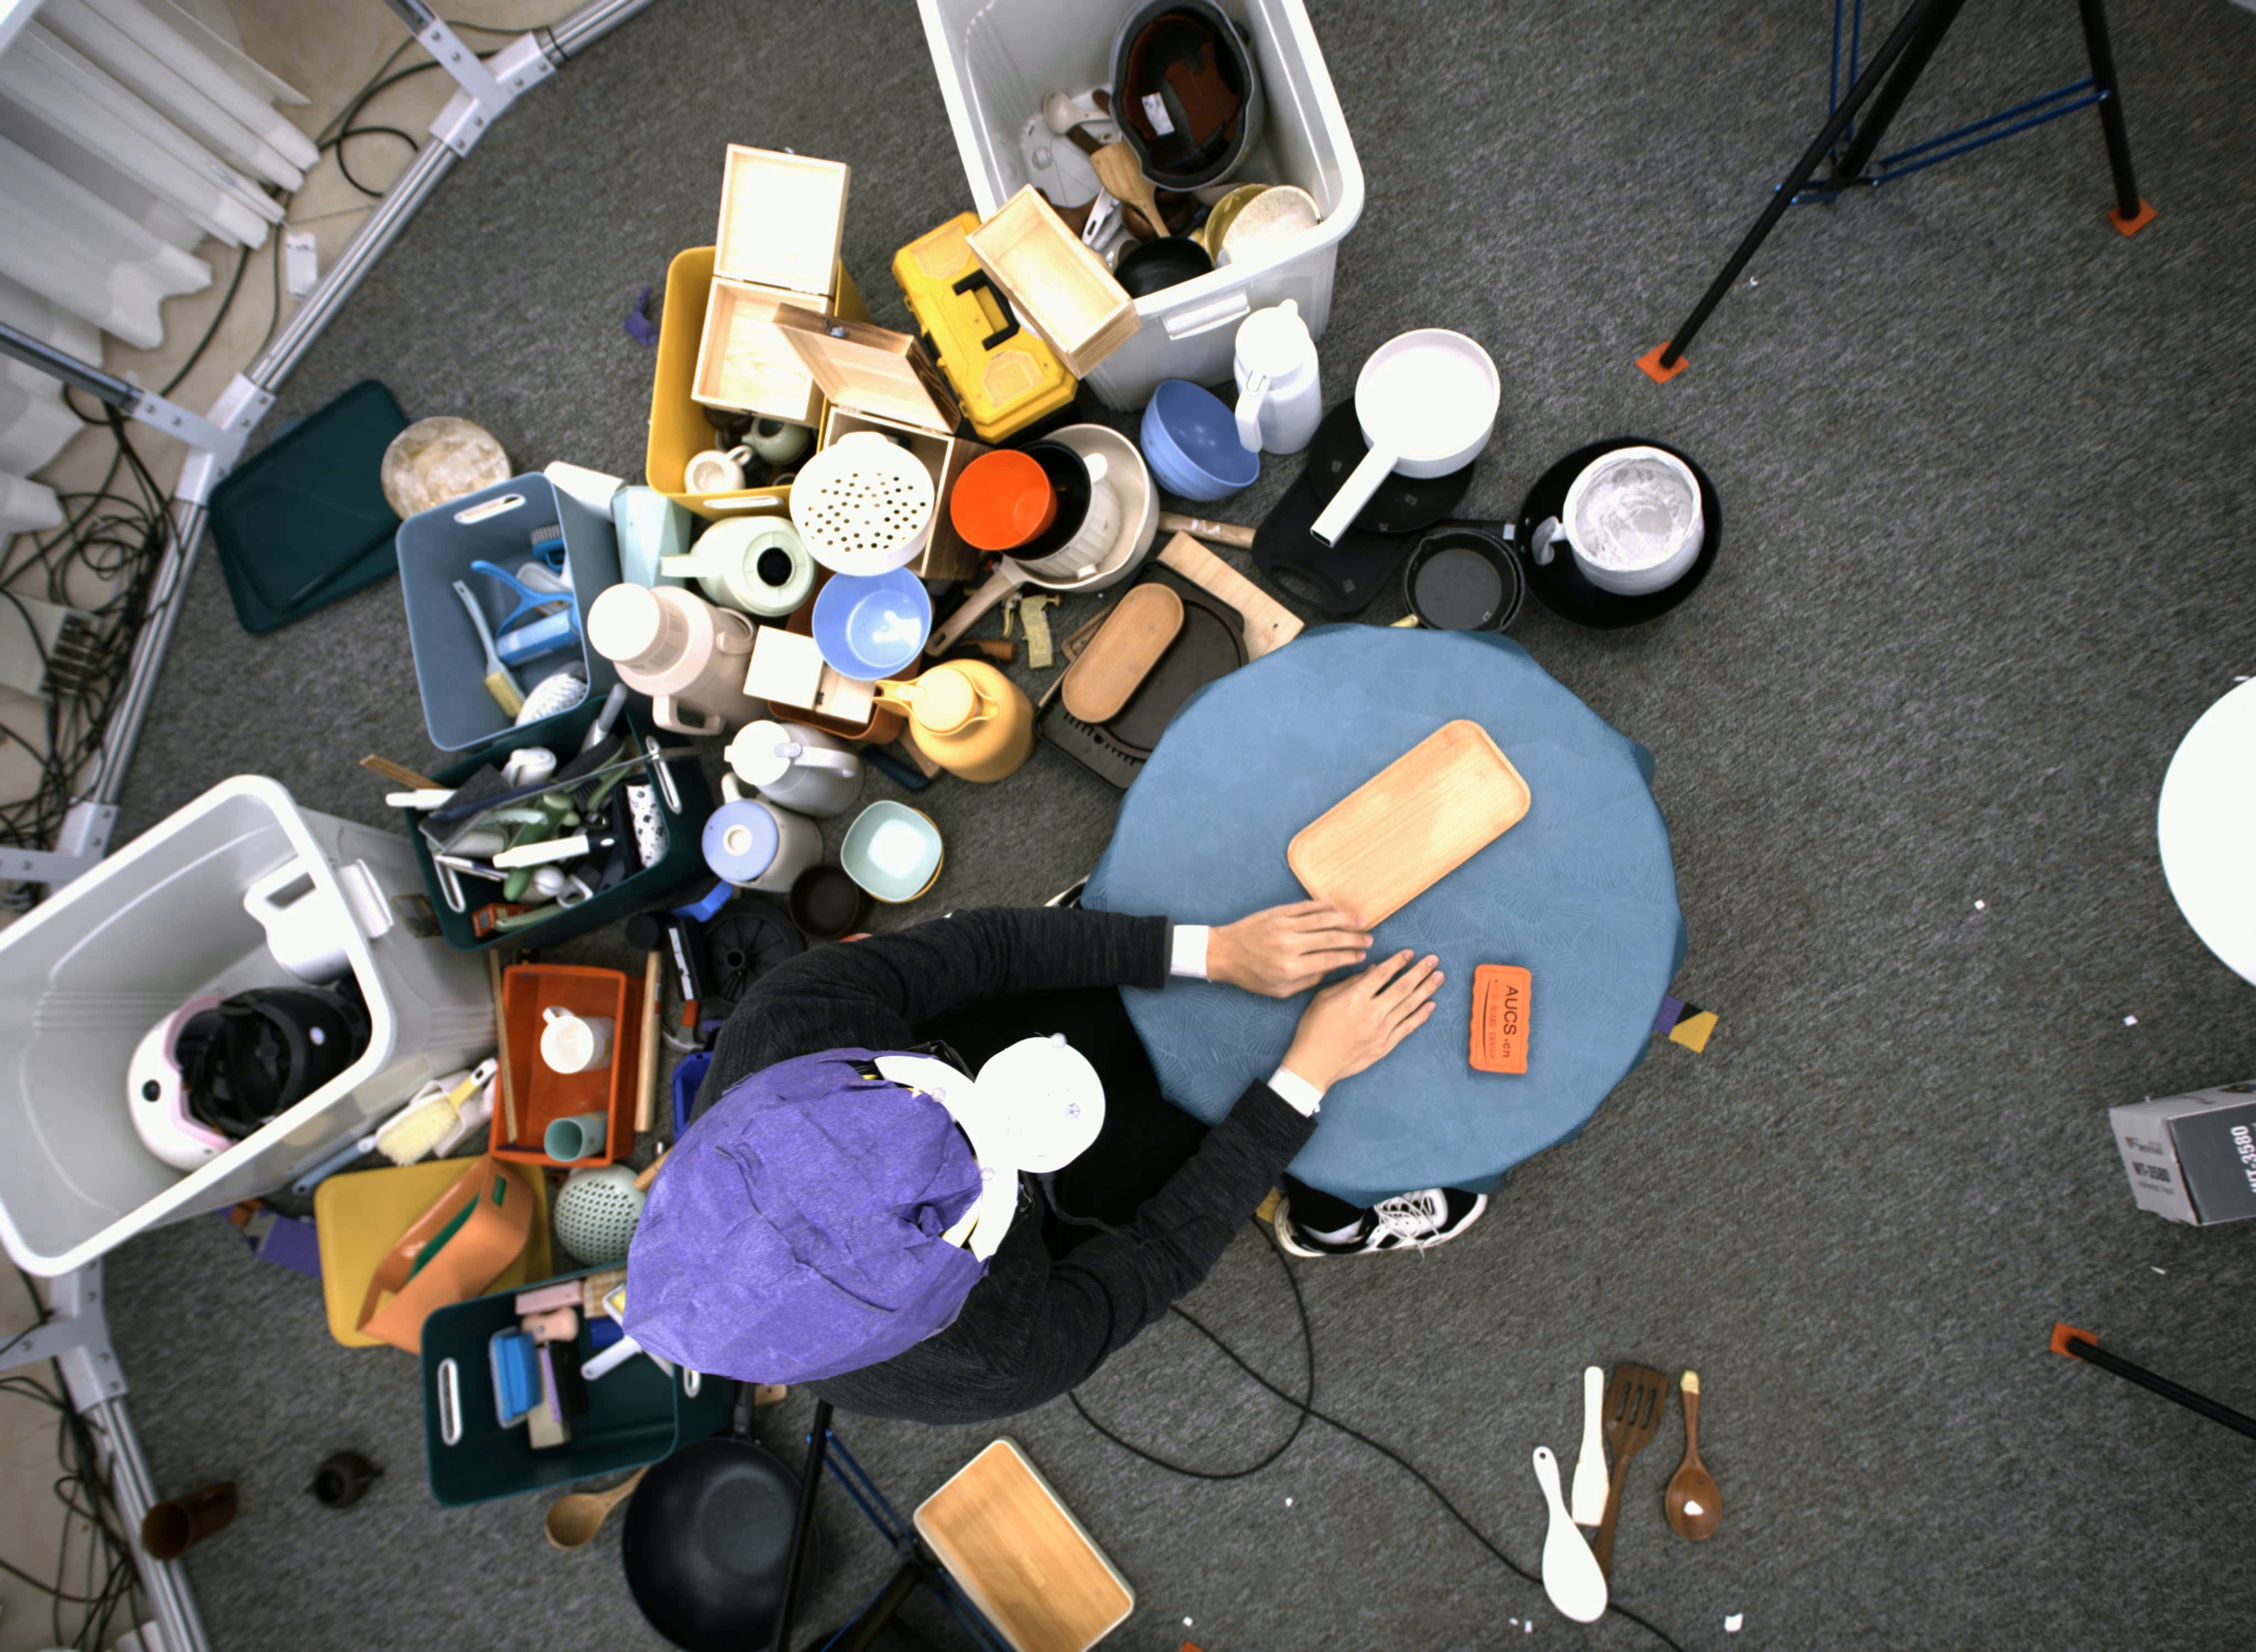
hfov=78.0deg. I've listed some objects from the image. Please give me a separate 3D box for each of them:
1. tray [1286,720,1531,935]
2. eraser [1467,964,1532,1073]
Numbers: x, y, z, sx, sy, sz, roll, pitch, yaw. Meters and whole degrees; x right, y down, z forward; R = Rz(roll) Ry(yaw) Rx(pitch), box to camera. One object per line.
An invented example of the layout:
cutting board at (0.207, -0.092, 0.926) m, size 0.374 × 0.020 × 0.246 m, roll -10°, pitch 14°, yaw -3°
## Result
tray at (0.294, 0.000, 1.451) m, size 0.252 × 0.023 × 0.129 m, roll -36°, pitch 79°, yaw 7°
eraser at (0.383, 0.196, 1.420) m, size 0.059 × 0.023 × 0.107 m, roll 5°, pitch 88°, yaw 11°
